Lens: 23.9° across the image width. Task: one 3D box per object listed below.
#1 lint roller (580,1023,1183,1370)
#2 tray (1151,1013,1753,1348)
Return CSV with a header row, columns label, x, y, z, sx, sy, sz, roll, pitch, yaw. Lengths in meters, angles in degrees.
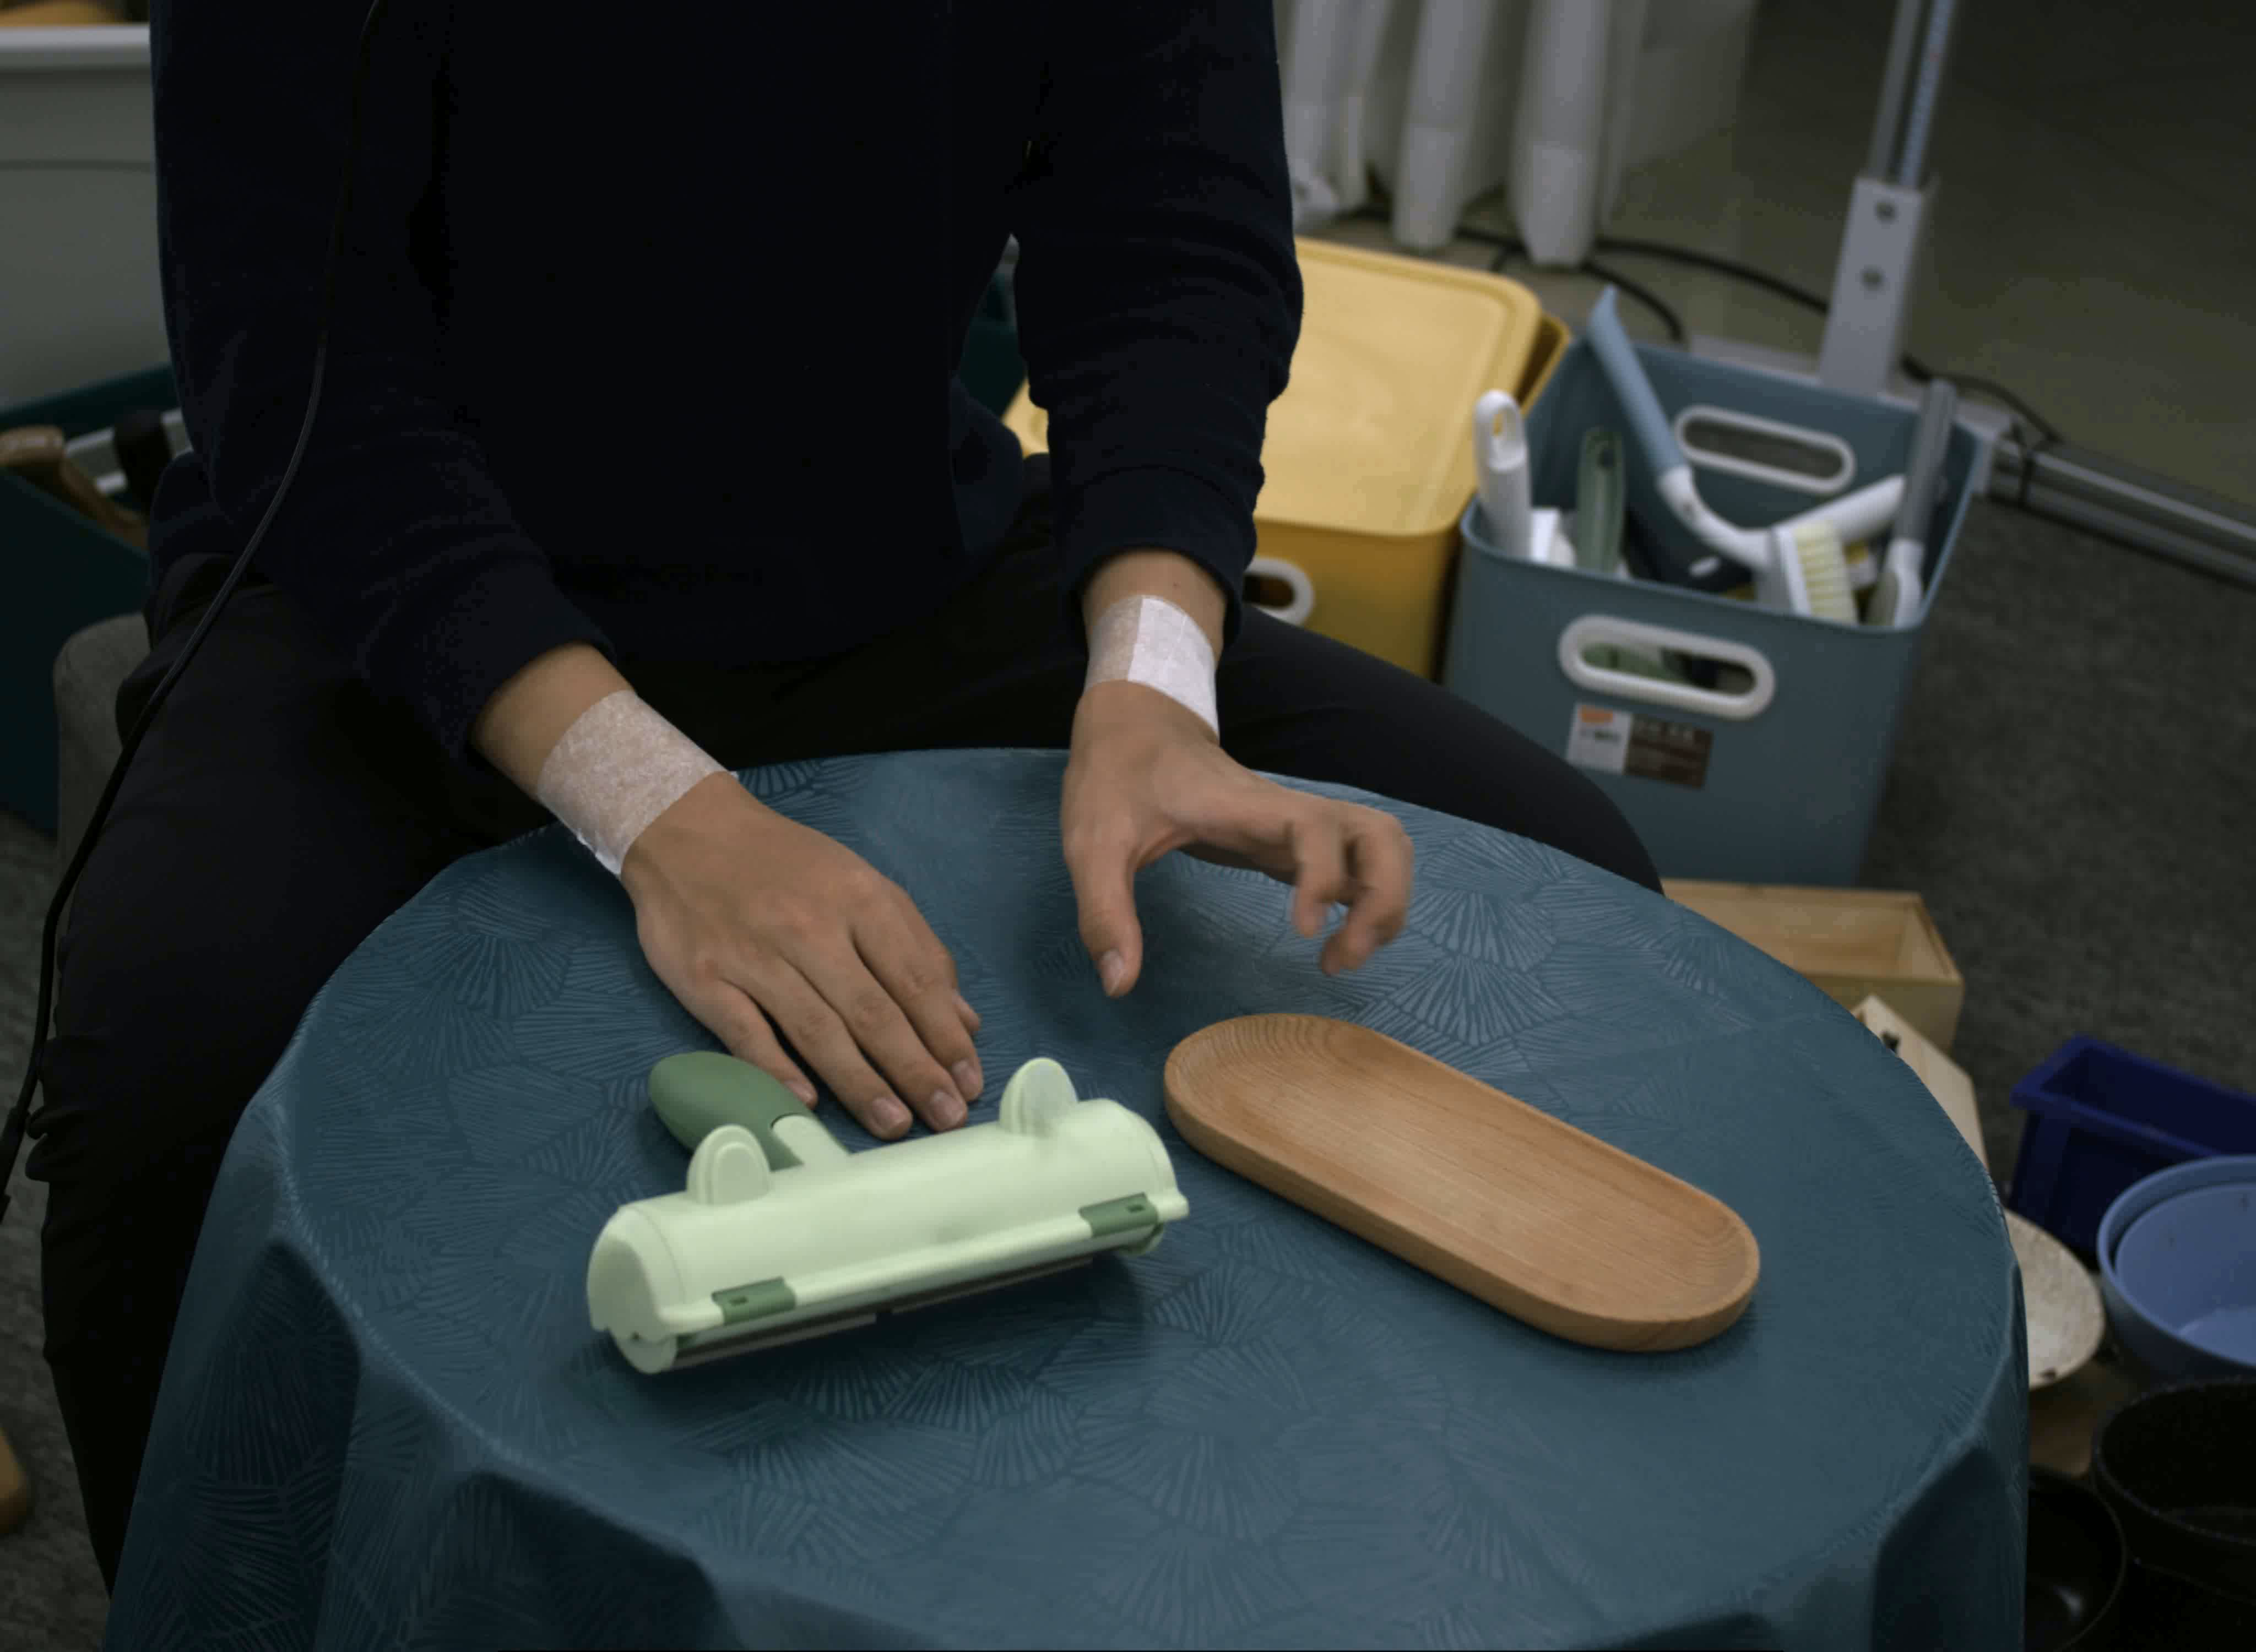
label,x,y,z,sx,sy,sz,roll,pitch,yaw
lint roller,-0.107,0.094,1.740,0.197,0.082,0.185,-11,37,-32
tray,0.108,0.120,1.817,0.233,0.020,0.101,24,31,33
